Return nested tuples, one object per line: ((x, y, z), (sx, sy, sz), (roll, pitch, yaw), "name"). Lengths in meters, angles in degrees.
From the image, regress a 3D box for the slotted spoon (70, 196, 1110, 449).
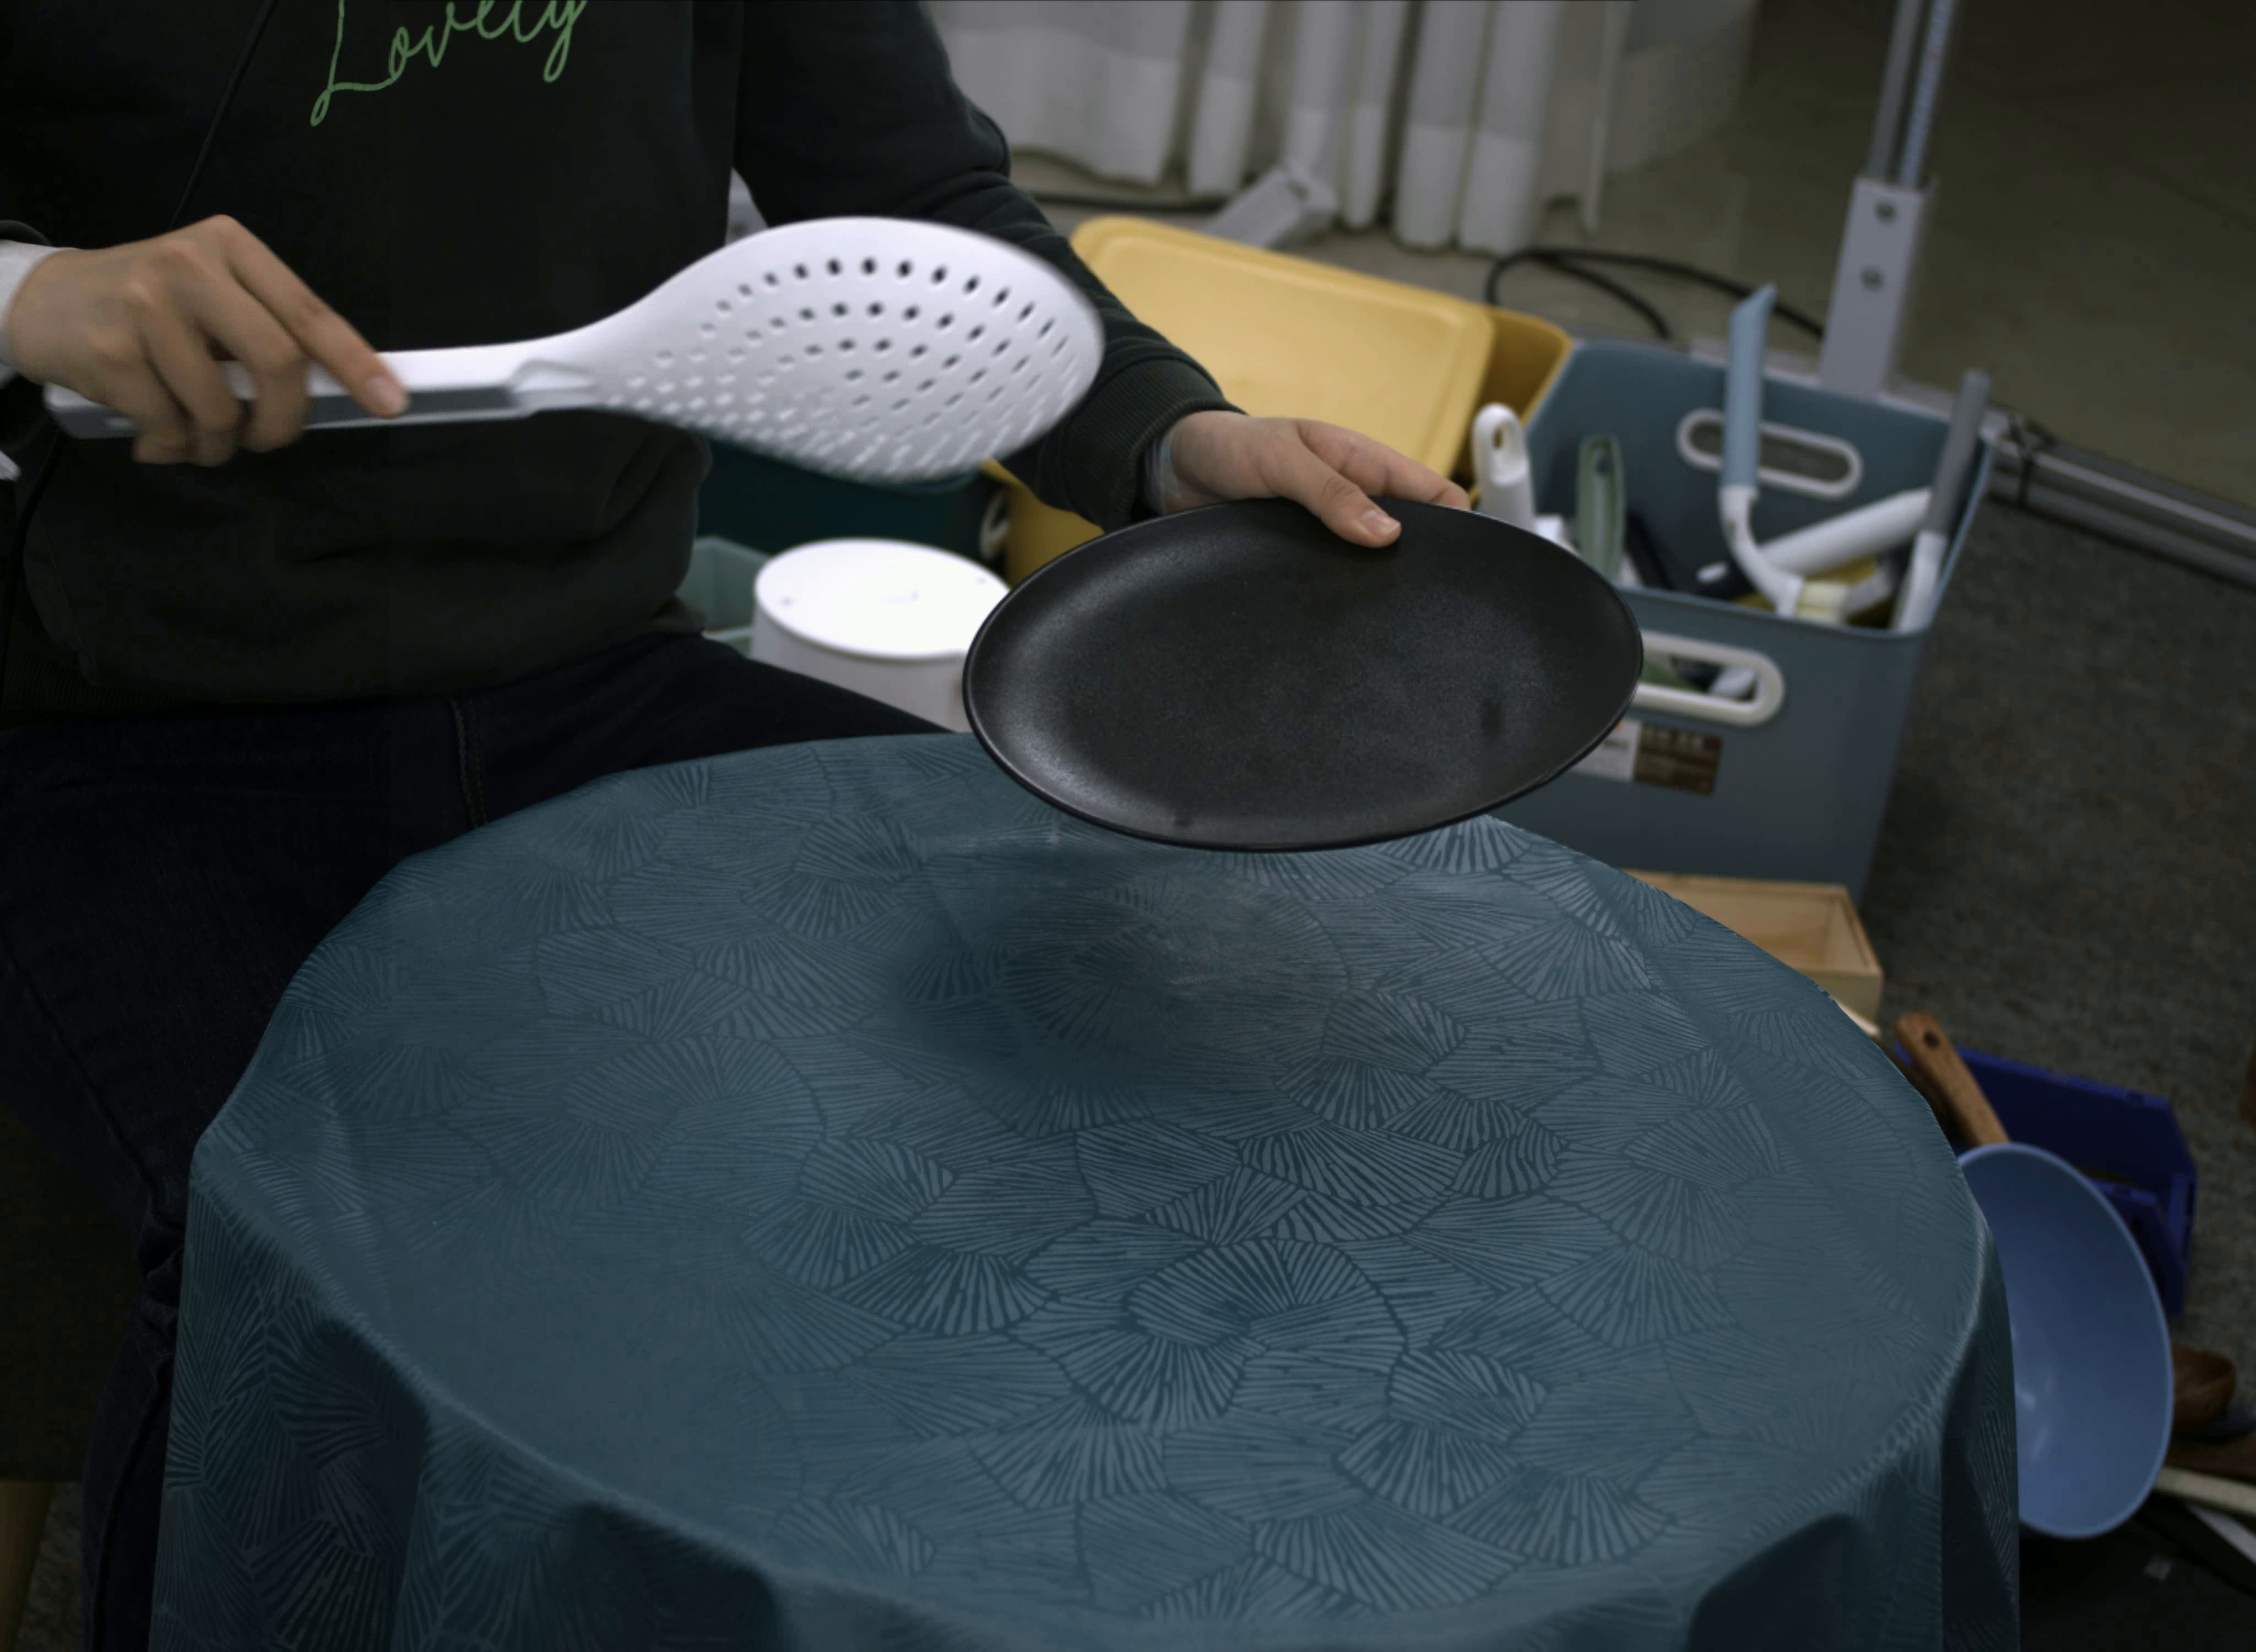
((-0.178, -0.150, 1.717), (0.350, 0.135, 0.046), (0, 65, 16), "slotted spoon")

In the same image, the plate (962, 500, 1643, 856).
((0.062, -0.049, 1.901), (0.244, 0.023, 0.246), (-4, 32, 2), "plate")
